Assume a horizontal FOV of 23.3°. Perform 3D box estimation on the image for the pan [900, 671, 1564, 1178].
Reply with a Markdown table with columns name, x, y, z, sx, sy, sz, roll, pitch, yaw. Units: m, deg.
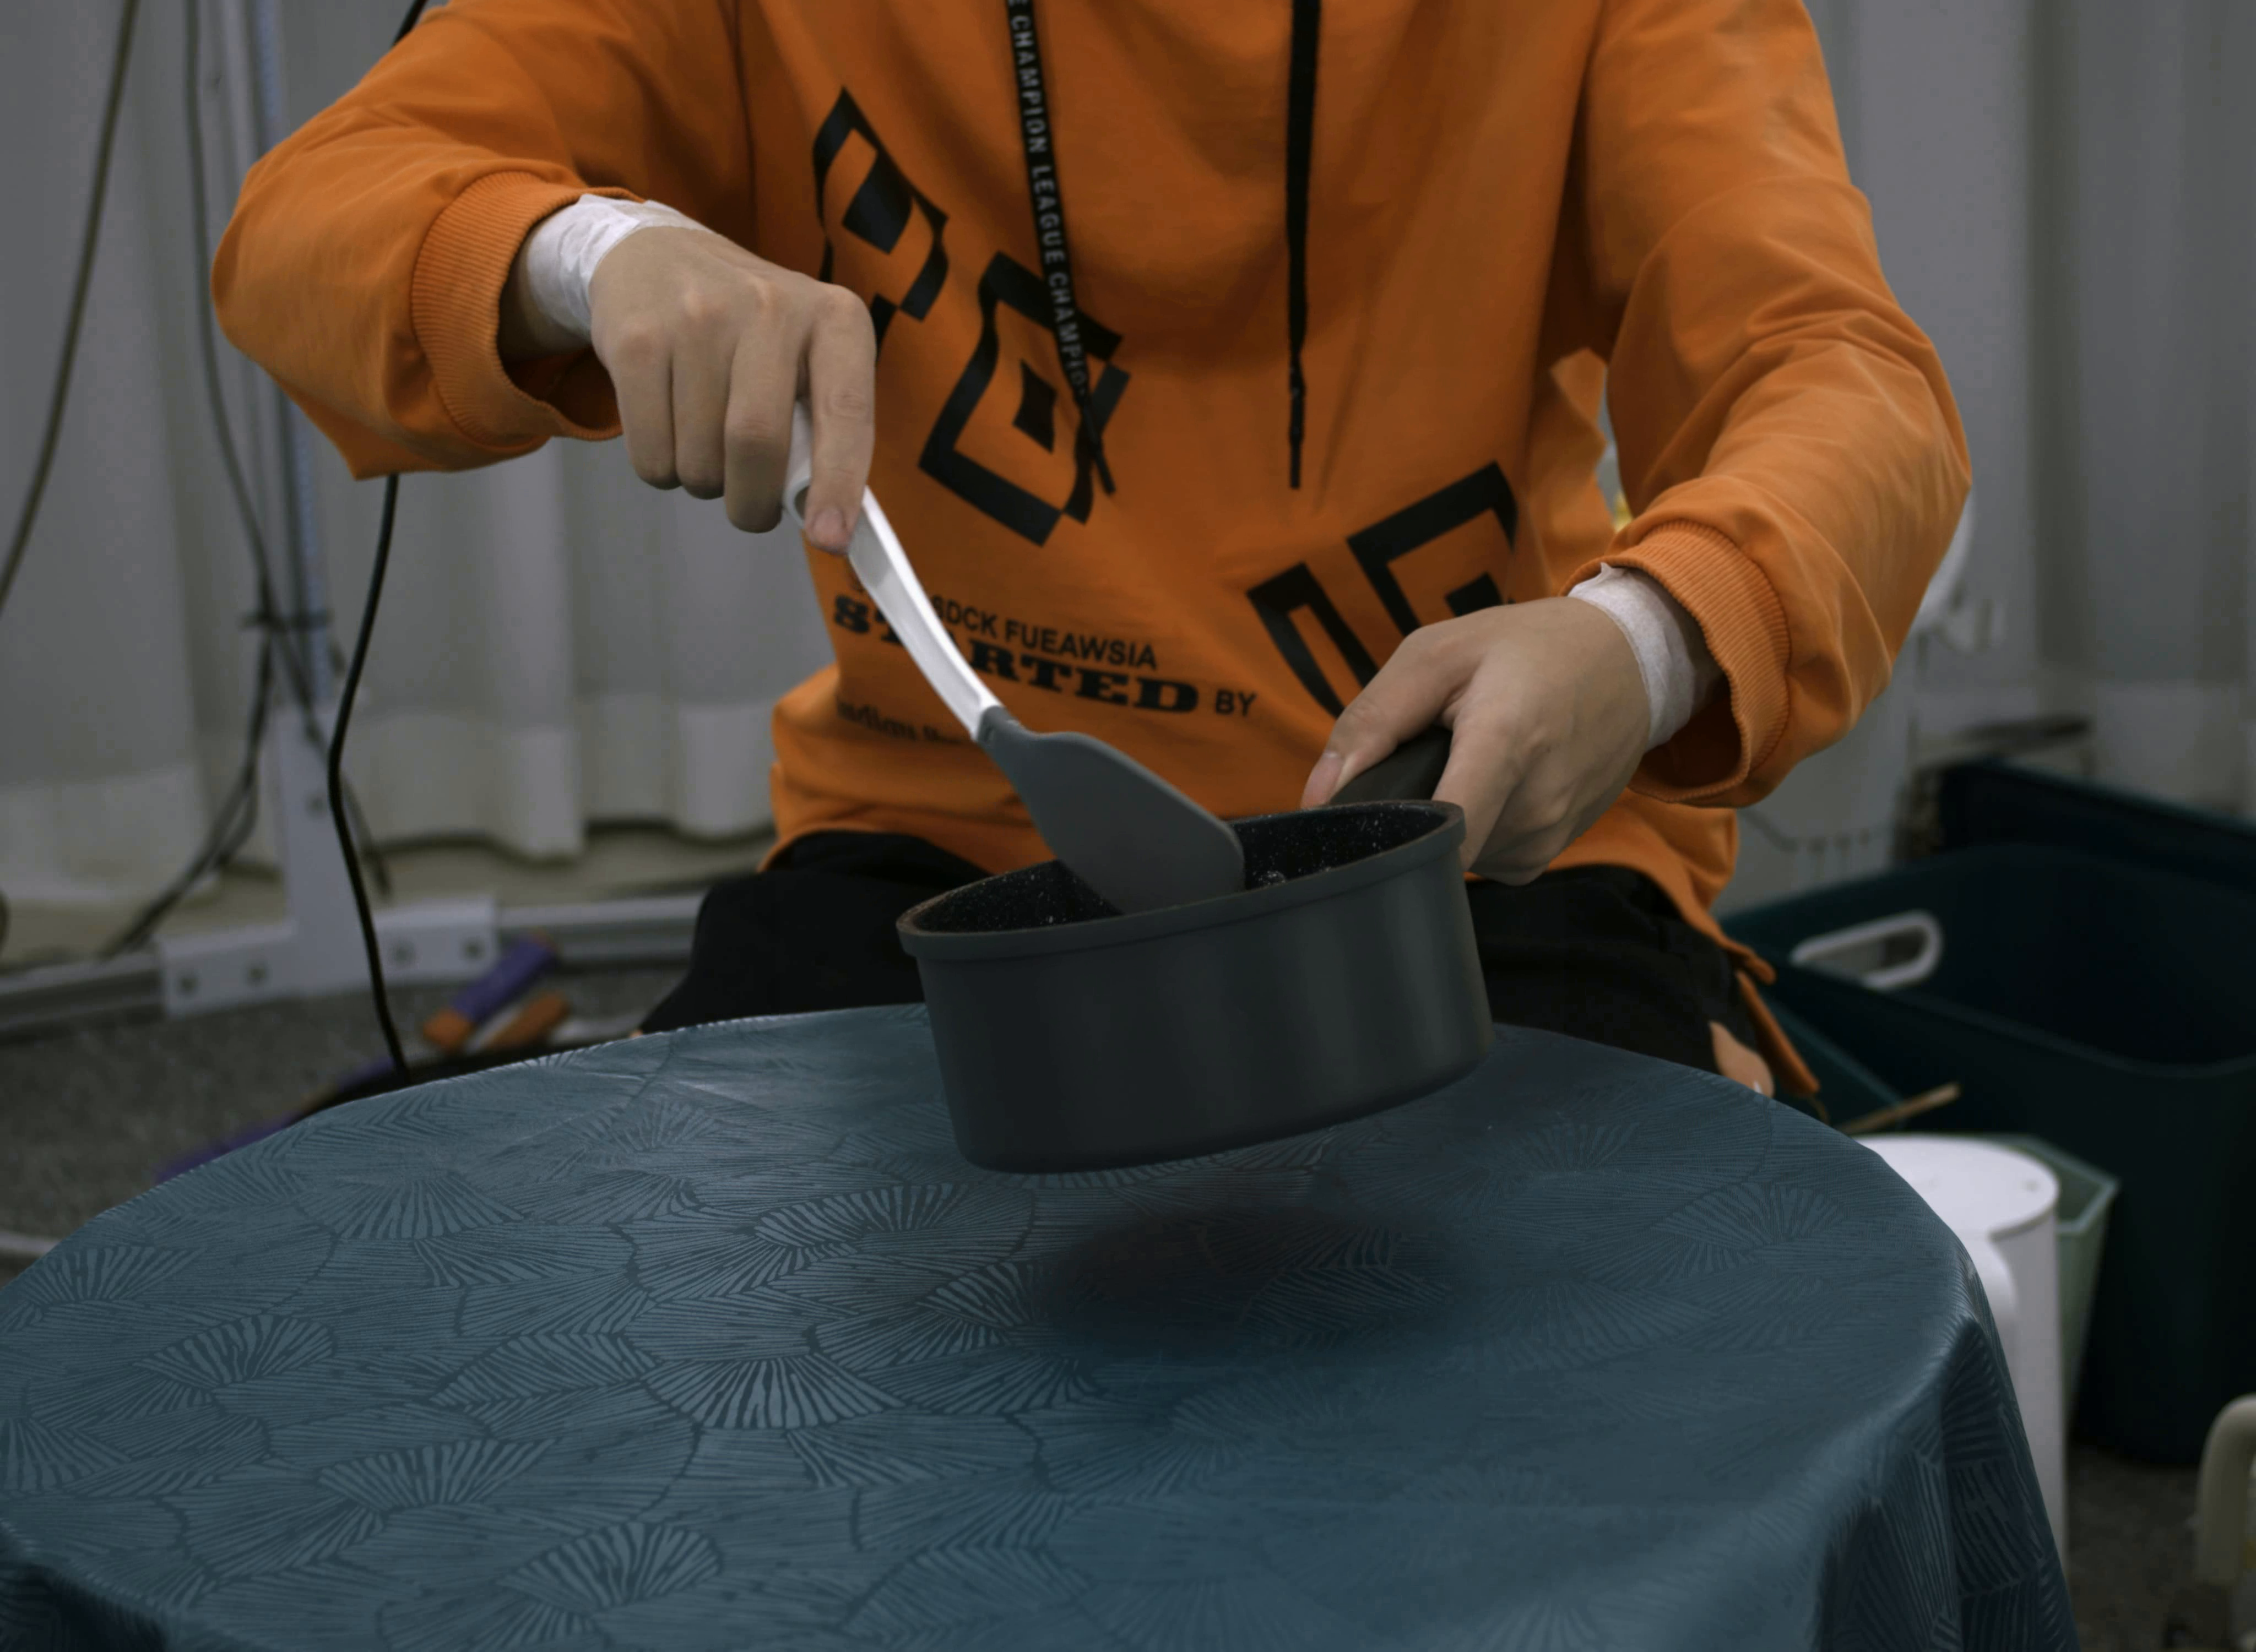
| name | x | y | z | sx | sy | sz | roll | pitch | yaw |
| --- | --- | --- | --- | --- | --- | --- | --- | --- | --- |
| pan | 0.059 | 0.028 | 1.684 | 0.172 | 0.086 | 0.329 | -7 | 10 | 30 |

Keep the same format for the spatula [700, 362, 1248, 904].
| name | x | y | z | sx | sy | sz | roll | pitch | yaw |
| --- | --- | --- | --- | --- | --- | --- | --- | --- | --- |
| spatula | -0.052 | -0.055 | 1.719 | 0.032 | 0.058 | 0.291 | -9 | 41 | -35 |
